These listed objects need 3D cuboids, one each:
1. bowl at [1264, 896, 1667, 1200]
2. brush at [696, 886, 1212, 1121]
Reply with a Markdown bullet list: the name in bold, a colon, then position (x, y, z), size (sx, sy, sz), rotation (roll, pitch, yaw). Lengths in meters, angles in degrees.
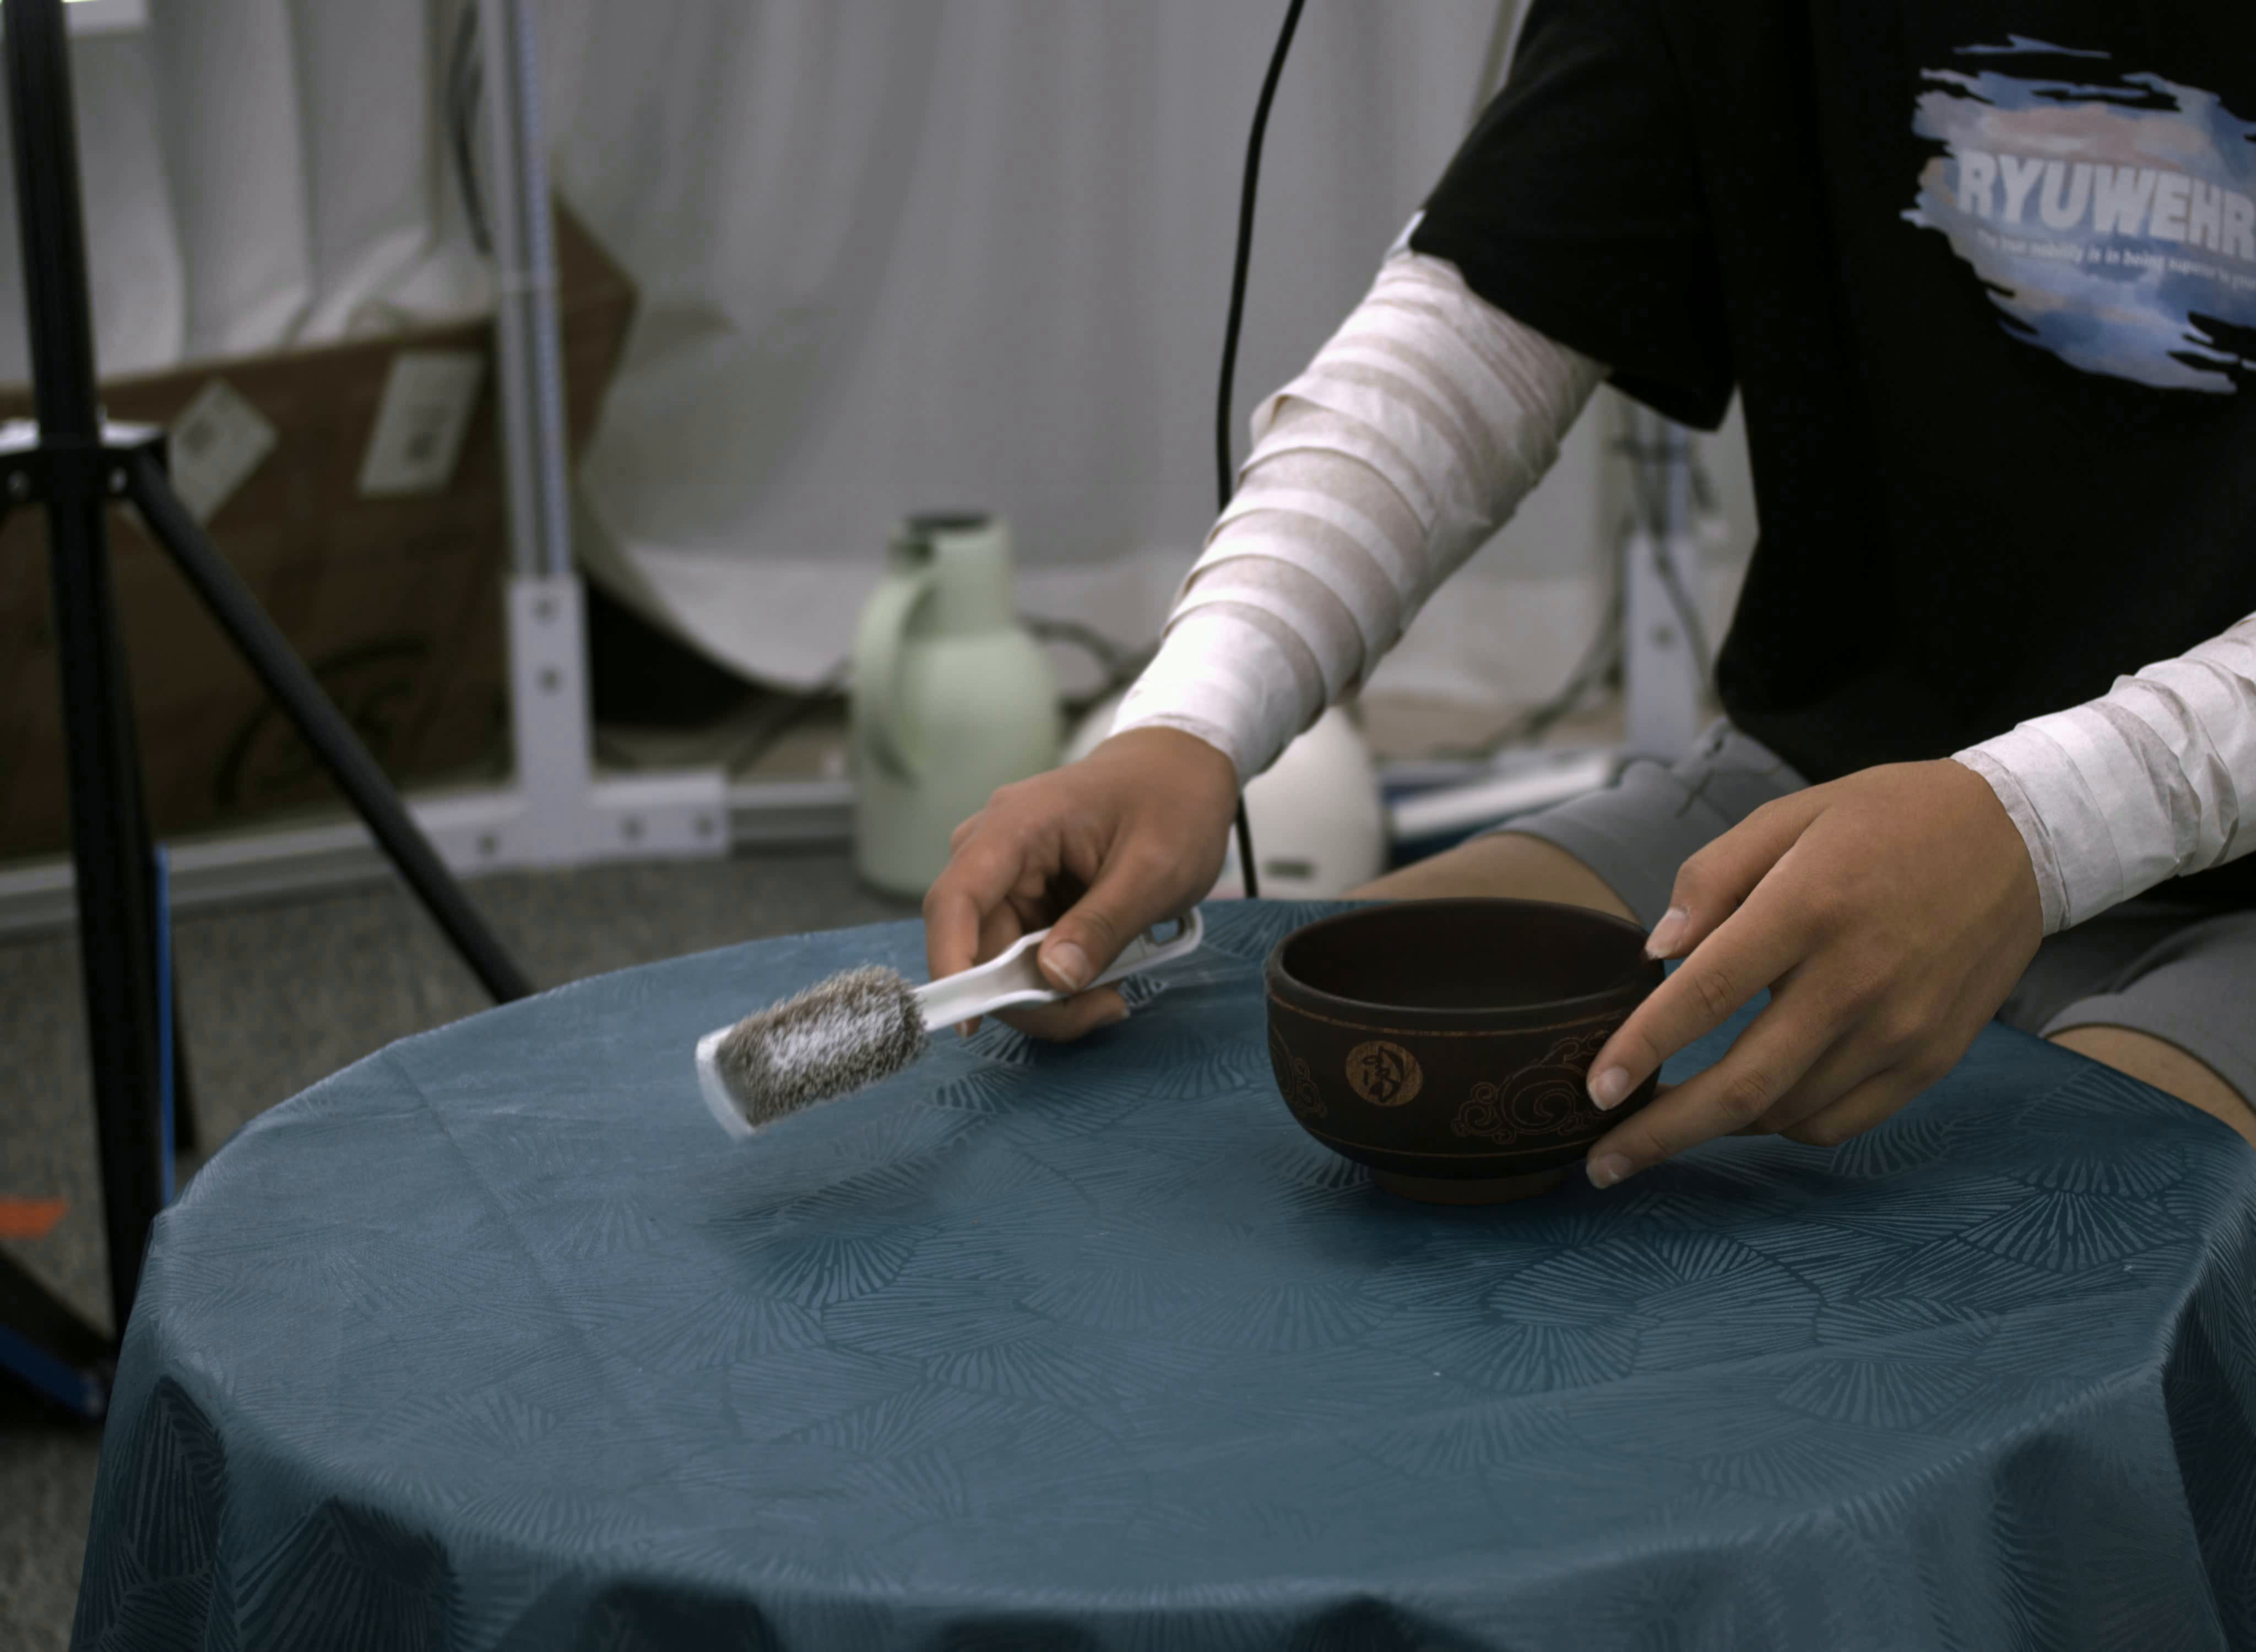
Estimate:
- **bowl**: position (0.099, 0.068, 1.552), size (0.117, 0.070, 0.118), rotation (-1, 13, -1)
- **brush**: position (-0.038, 0.048, 1.632), size (0.051, 0.034, 0.238), rotation (-18, -1, 43)
